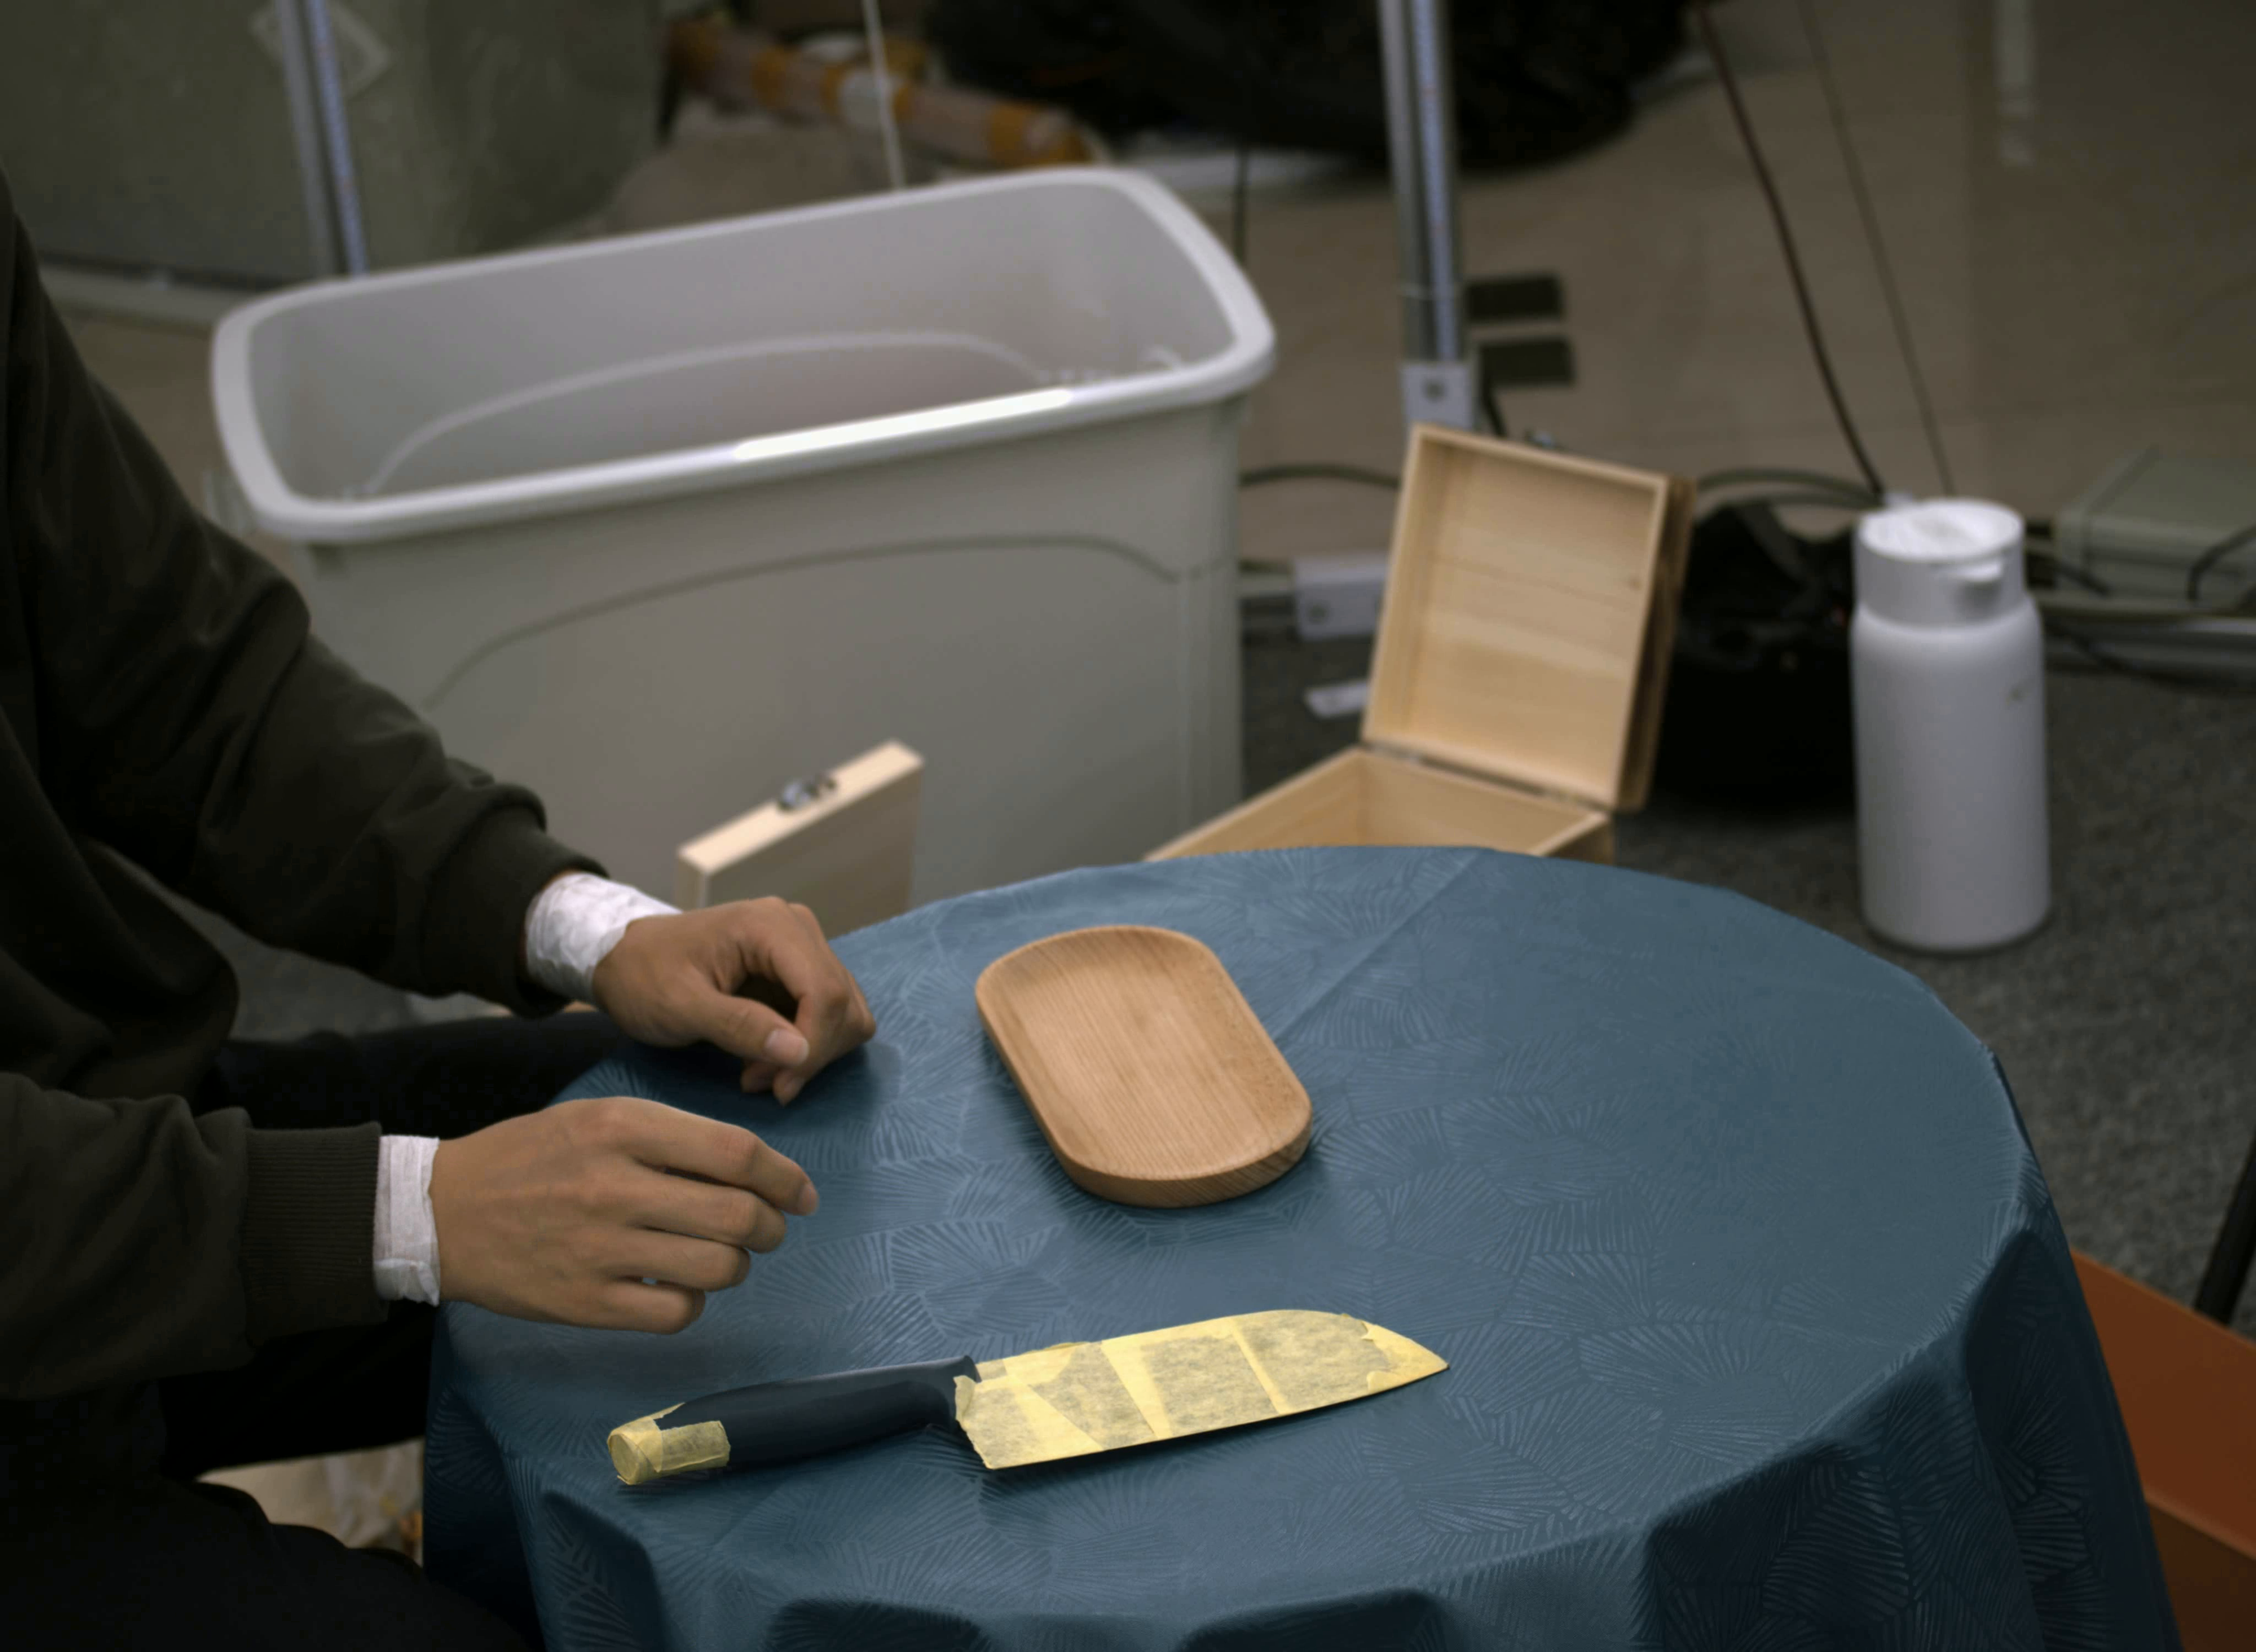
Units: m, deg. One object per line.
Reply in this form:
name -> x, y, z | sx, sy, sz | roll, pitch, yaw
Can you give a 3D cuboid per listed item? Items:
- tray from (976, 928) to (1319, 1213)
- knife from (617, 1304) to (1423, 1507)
tray -> 0.006, 0.094, 2.228 | 0.101, 0.020, 0.228 | -13, 27, -10
knife -> -0.035, 0.206, 1.999 | 0.289, 0.027, 0.080 | -10, 24, -9
